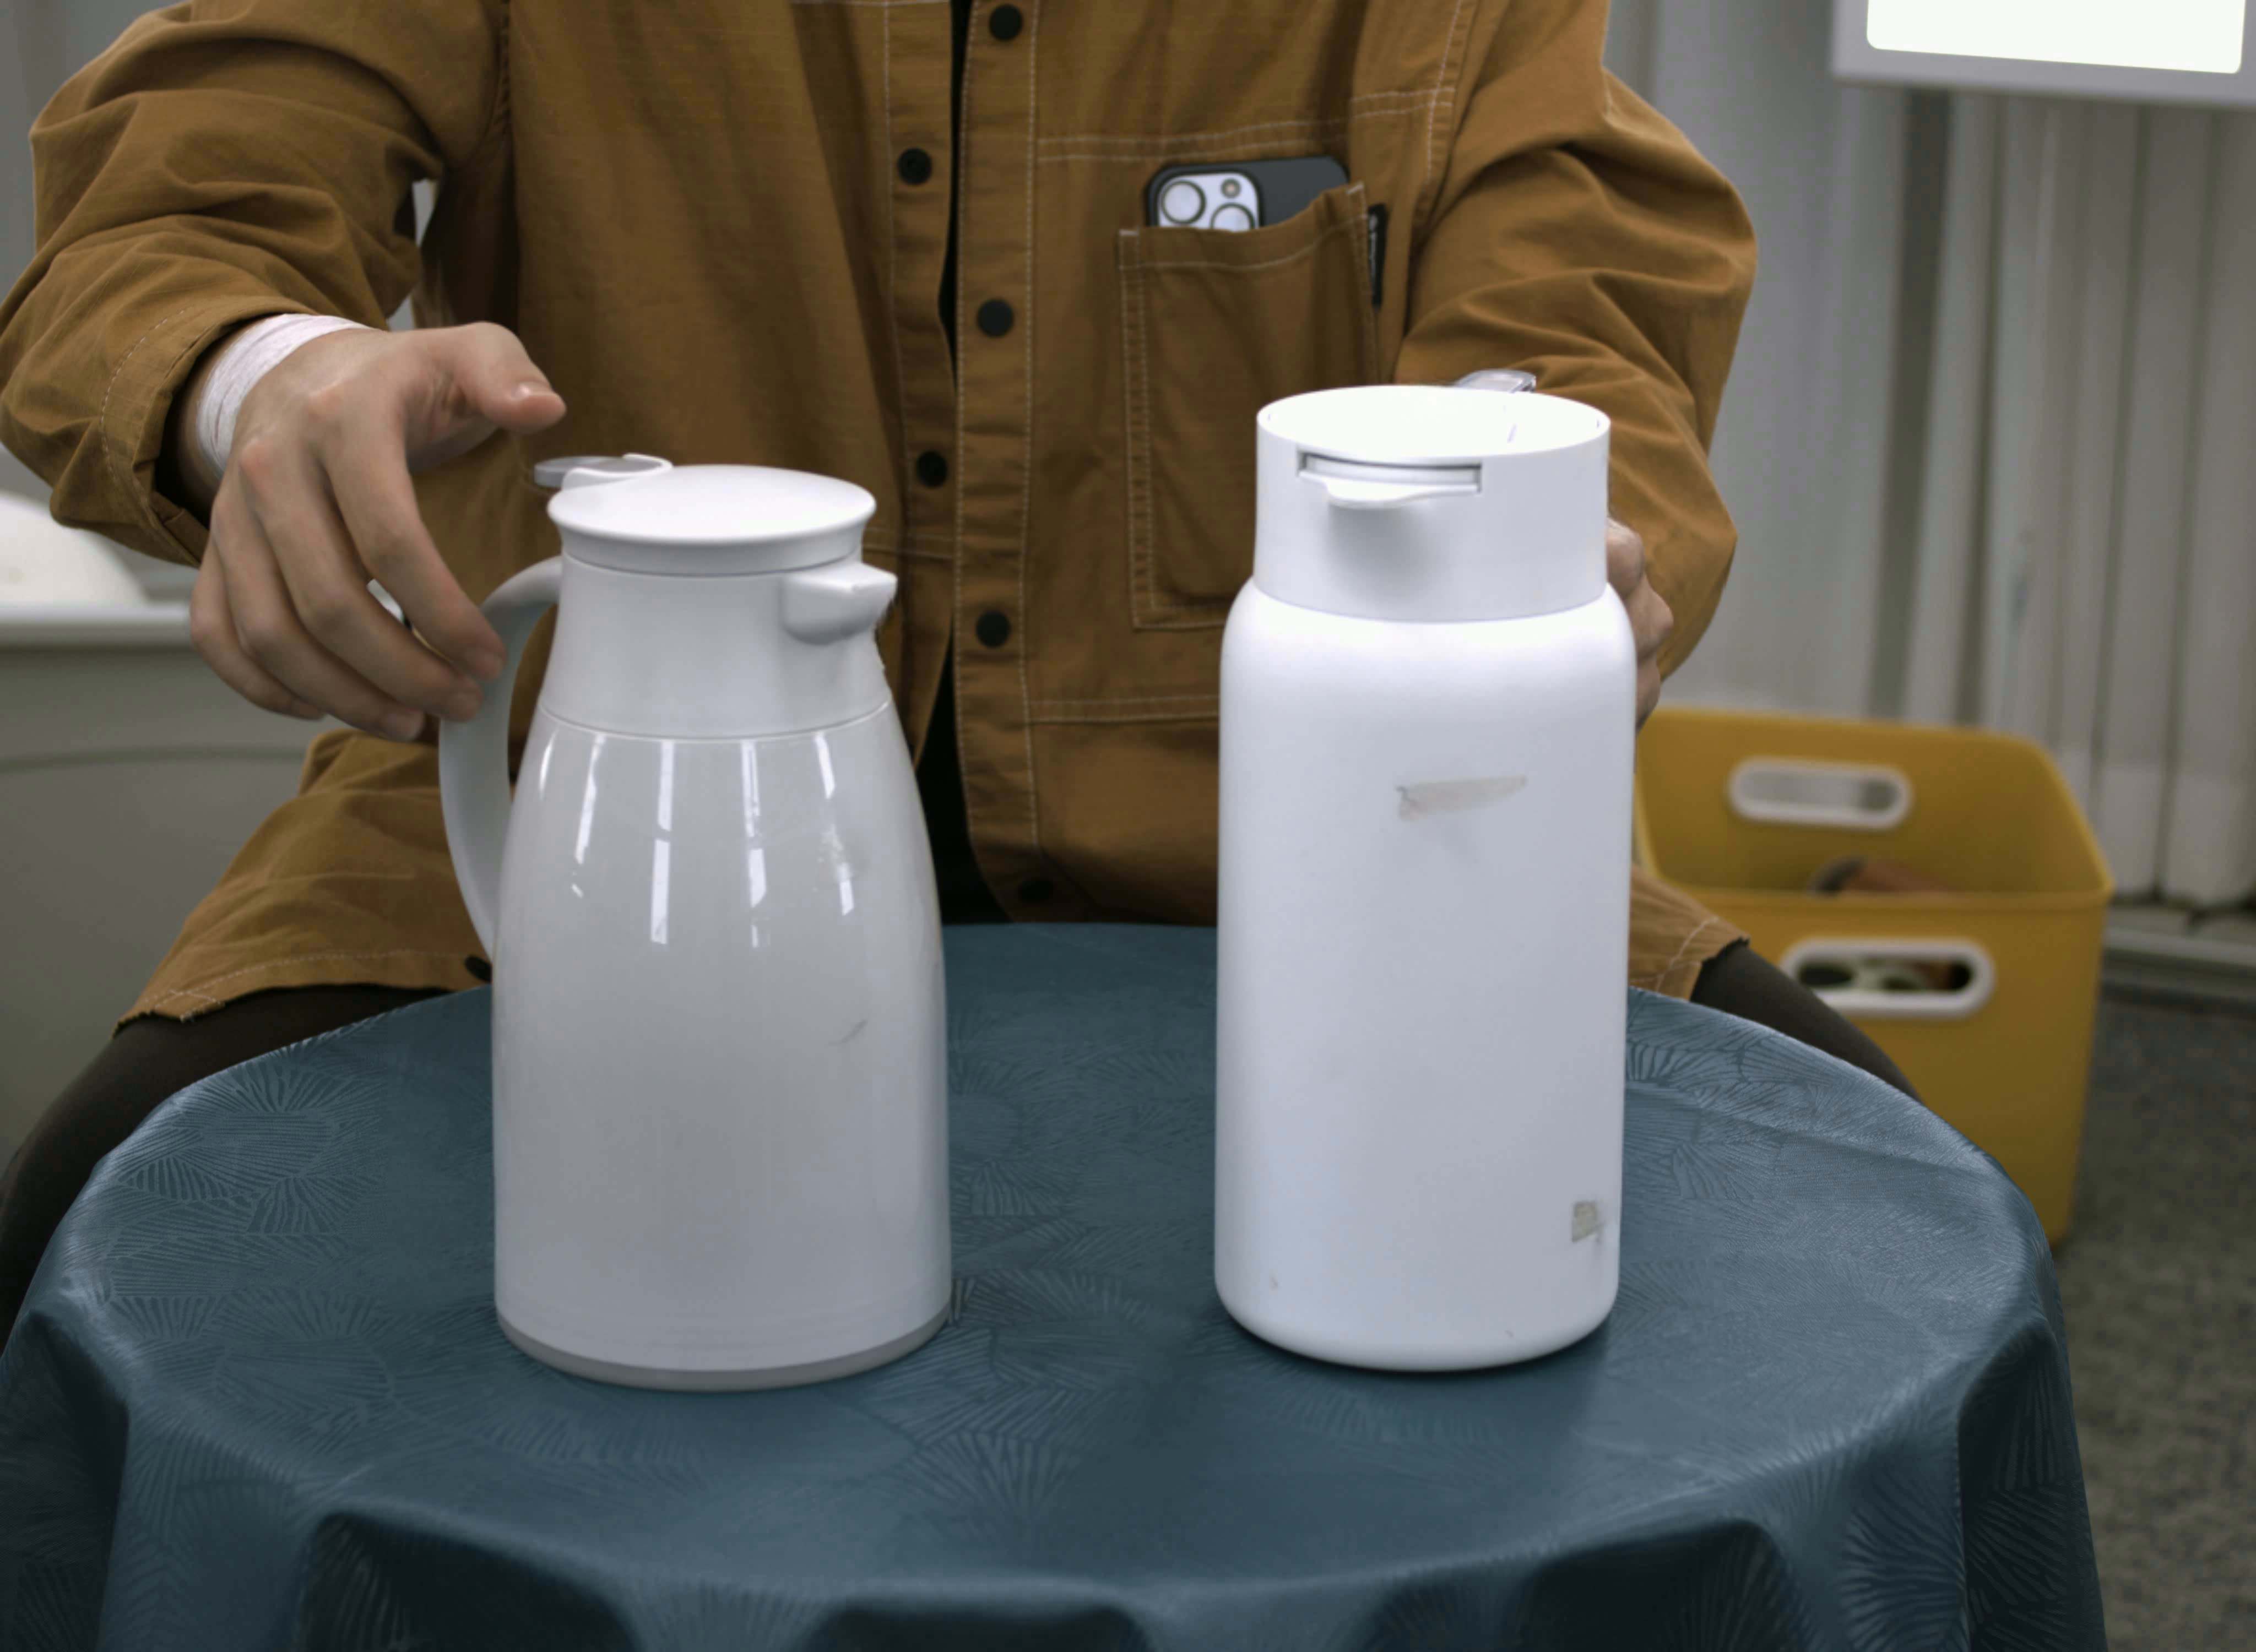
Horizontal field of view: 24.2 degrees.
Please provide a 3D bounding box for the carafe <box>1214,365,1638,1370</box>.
[{"bbox_3d":[0.088,0.007,1.502,0.123,0.271,0.173,4,16,19],"label":"carafe"}]

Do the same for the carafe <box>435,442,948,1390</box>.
[{"bbox_3d":[-0.132,0.017,1.495,0.165,0.250,0.133,12,19,37],"label":"carafe"}]
